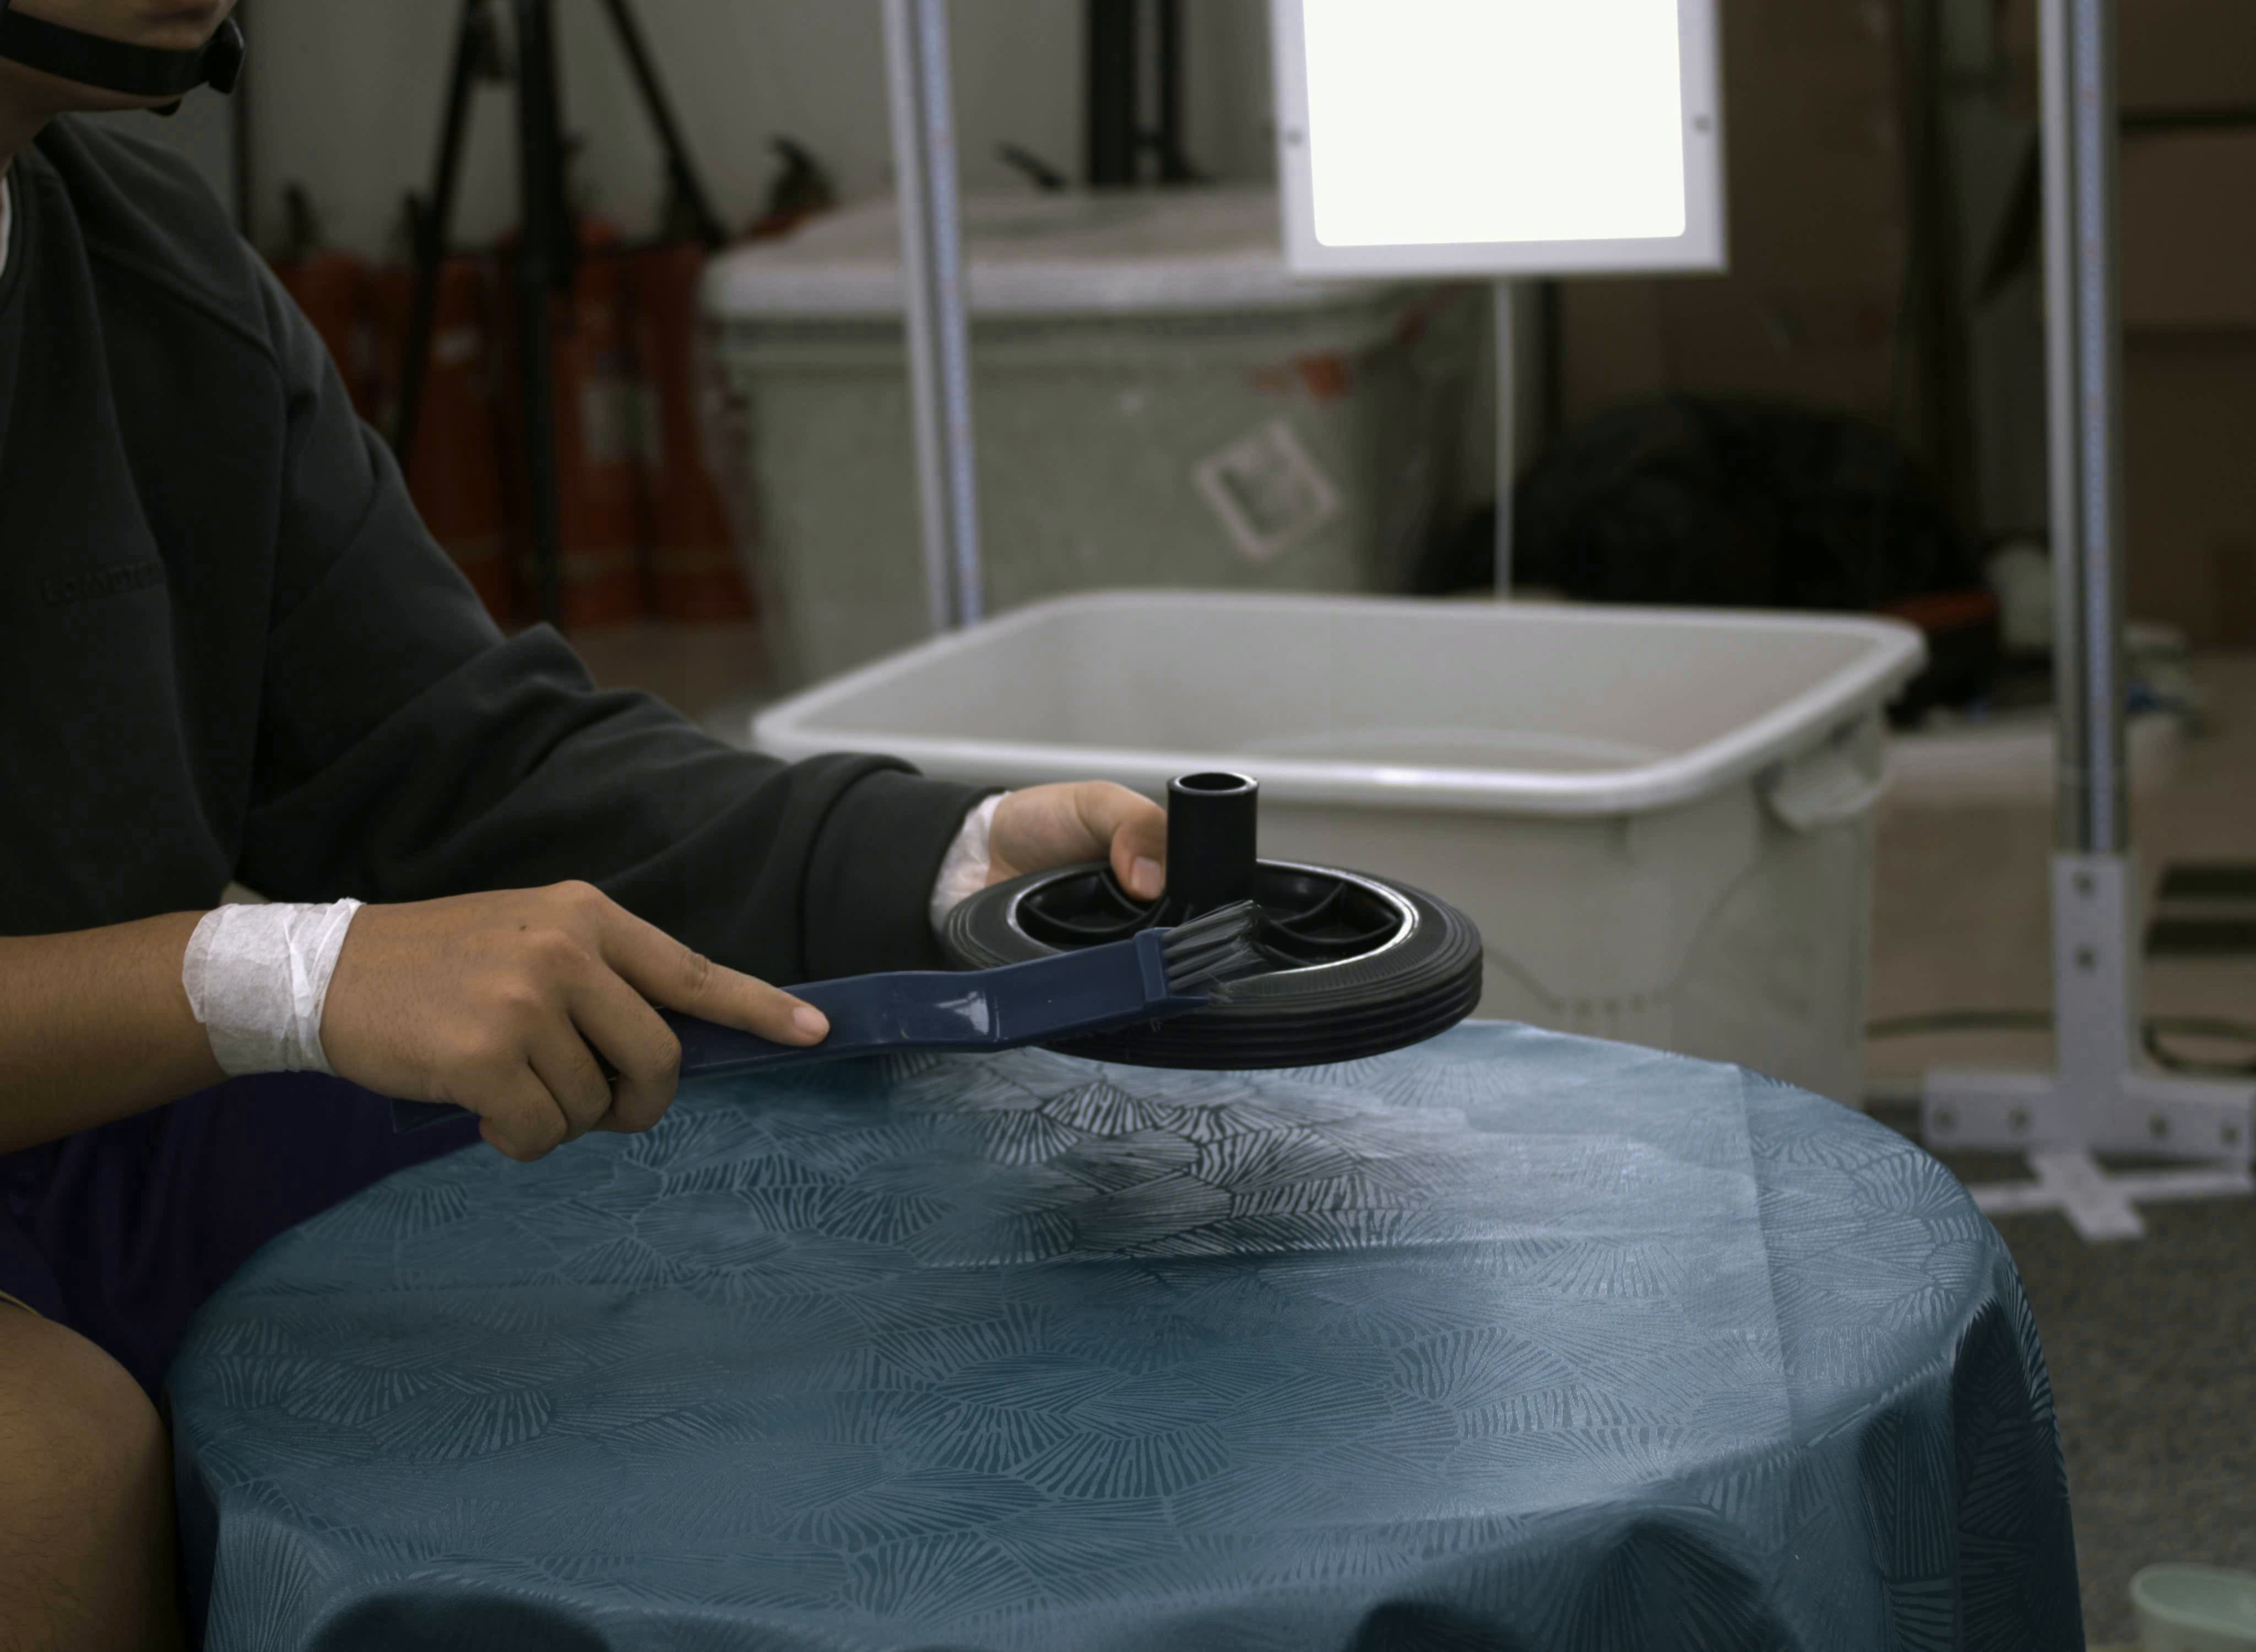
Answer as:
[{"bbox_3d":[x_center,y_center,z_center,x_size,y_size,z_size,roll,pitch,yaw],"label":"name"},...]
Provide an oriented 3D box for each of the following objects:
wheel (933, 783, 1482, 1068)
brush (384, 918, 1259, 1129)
[{"bbox_3d":[0.027,0.027,1.882,0.183,0.079,0.193,-11,18,-34],"label":"wheel"},{"bbox_3d":[-0.099,0.060,1.752,0.271,0.033,0.096,-6,-13,-7],"label":"brush"}]
